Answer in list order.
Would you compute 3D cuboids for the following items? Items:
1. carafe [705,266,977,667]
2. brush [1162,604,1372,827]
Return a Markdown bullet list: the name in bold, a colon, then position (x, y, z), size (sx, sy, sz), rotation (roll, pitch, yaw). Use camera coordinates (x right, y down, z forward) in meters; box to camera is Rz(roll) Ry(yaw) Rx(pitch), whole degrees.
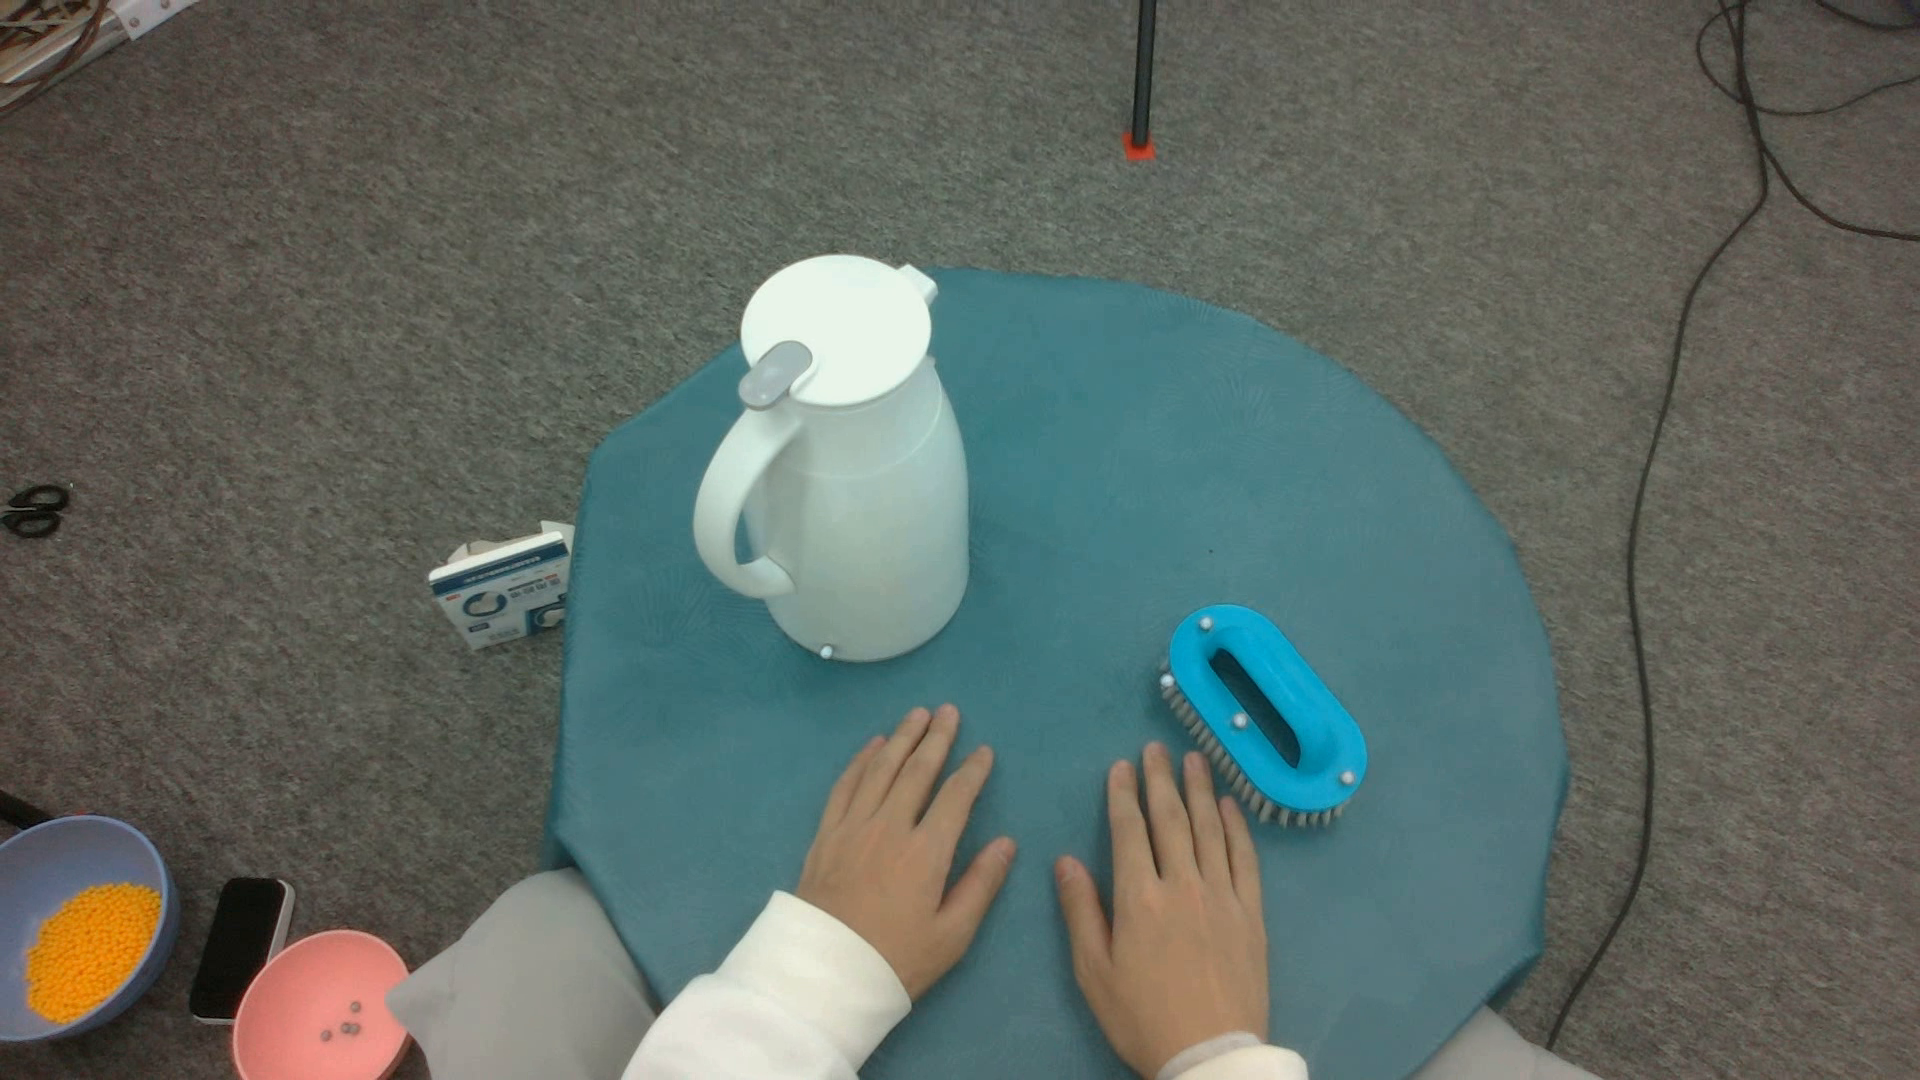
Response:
- **carafe**: position (-0.068, -0.027, 0.765), size (0.132, 0.247, 0.168), rotation (34, 66, 19)
- **brush**: position (0.182, 0.092, 0.799), size (0.084, 0.063, 0.142), rotation (-25, 63, -19)
